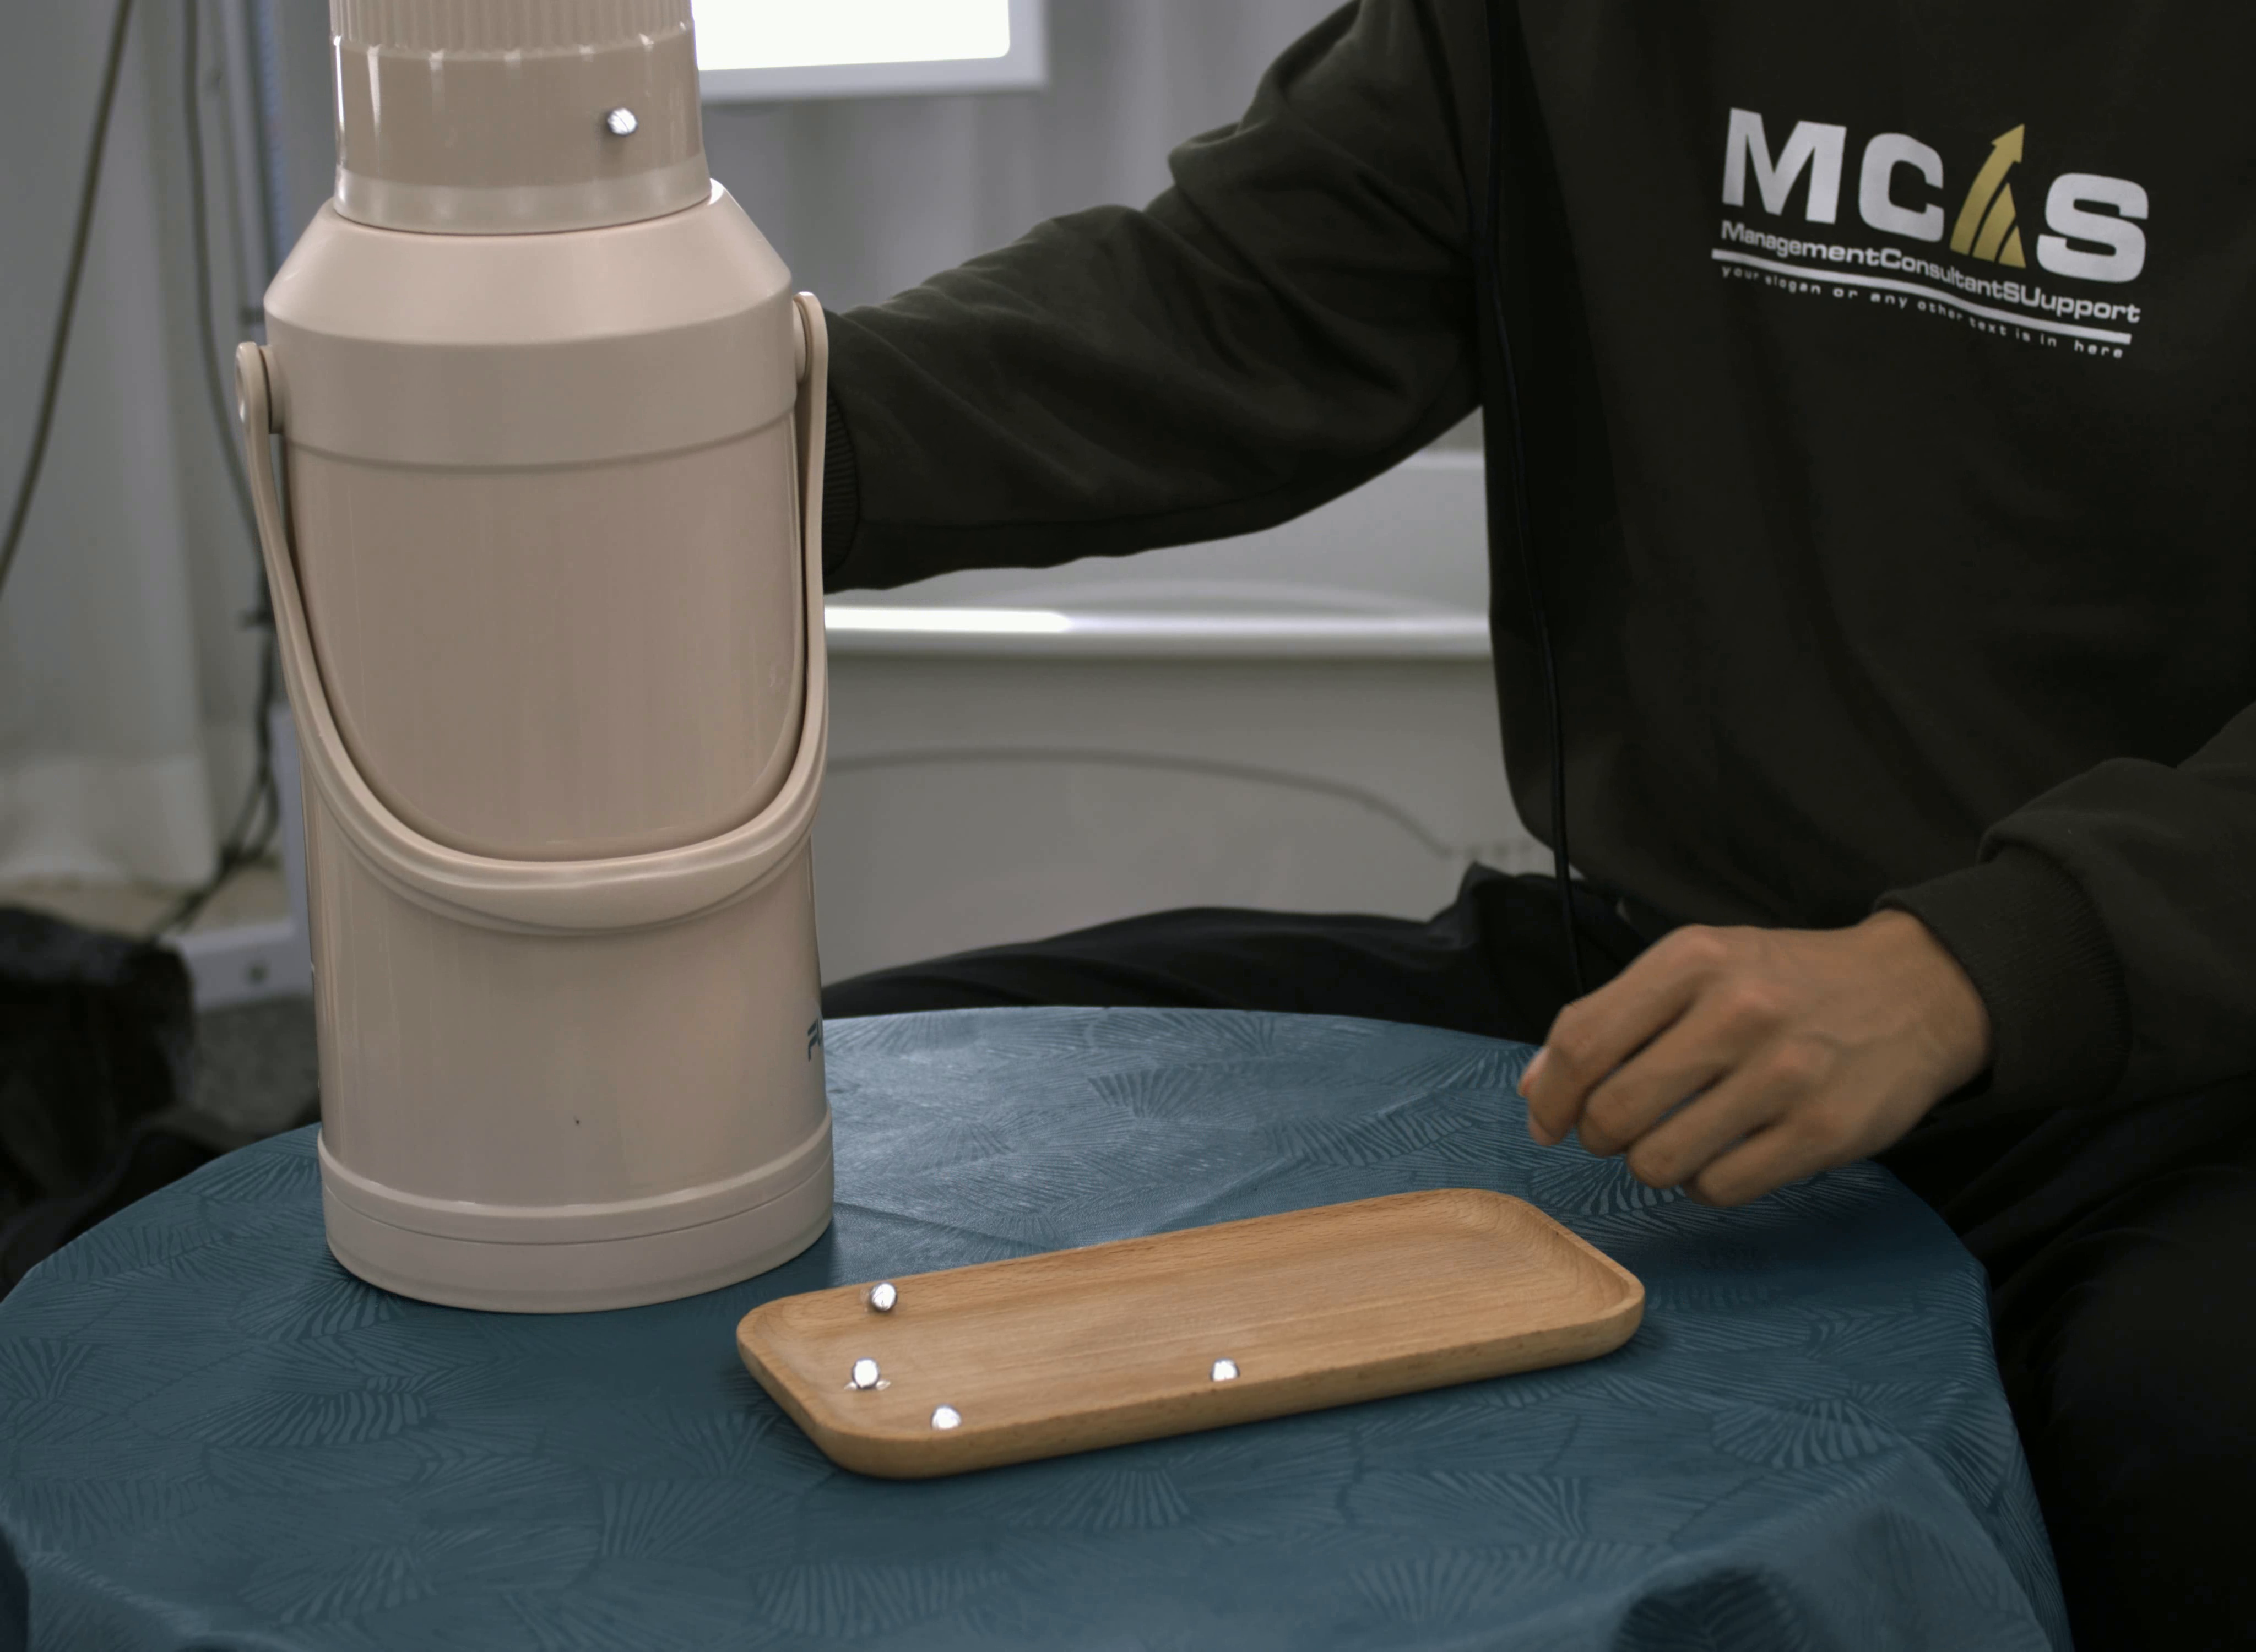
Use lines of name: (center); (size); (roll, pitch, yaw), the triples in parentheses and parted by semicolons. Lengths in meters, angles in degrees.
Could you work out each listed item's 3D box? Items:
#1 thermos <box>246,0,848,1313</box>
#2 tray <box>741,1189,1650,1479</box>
thermos: (-0.175, -0.071, 1.667); (0.174, 0.404, 0.209); (-8, 17, -17)
tray: (0.019, 0.145, 1.572); (0.249, 0.023, 0.132); (-7, 18, -18)
